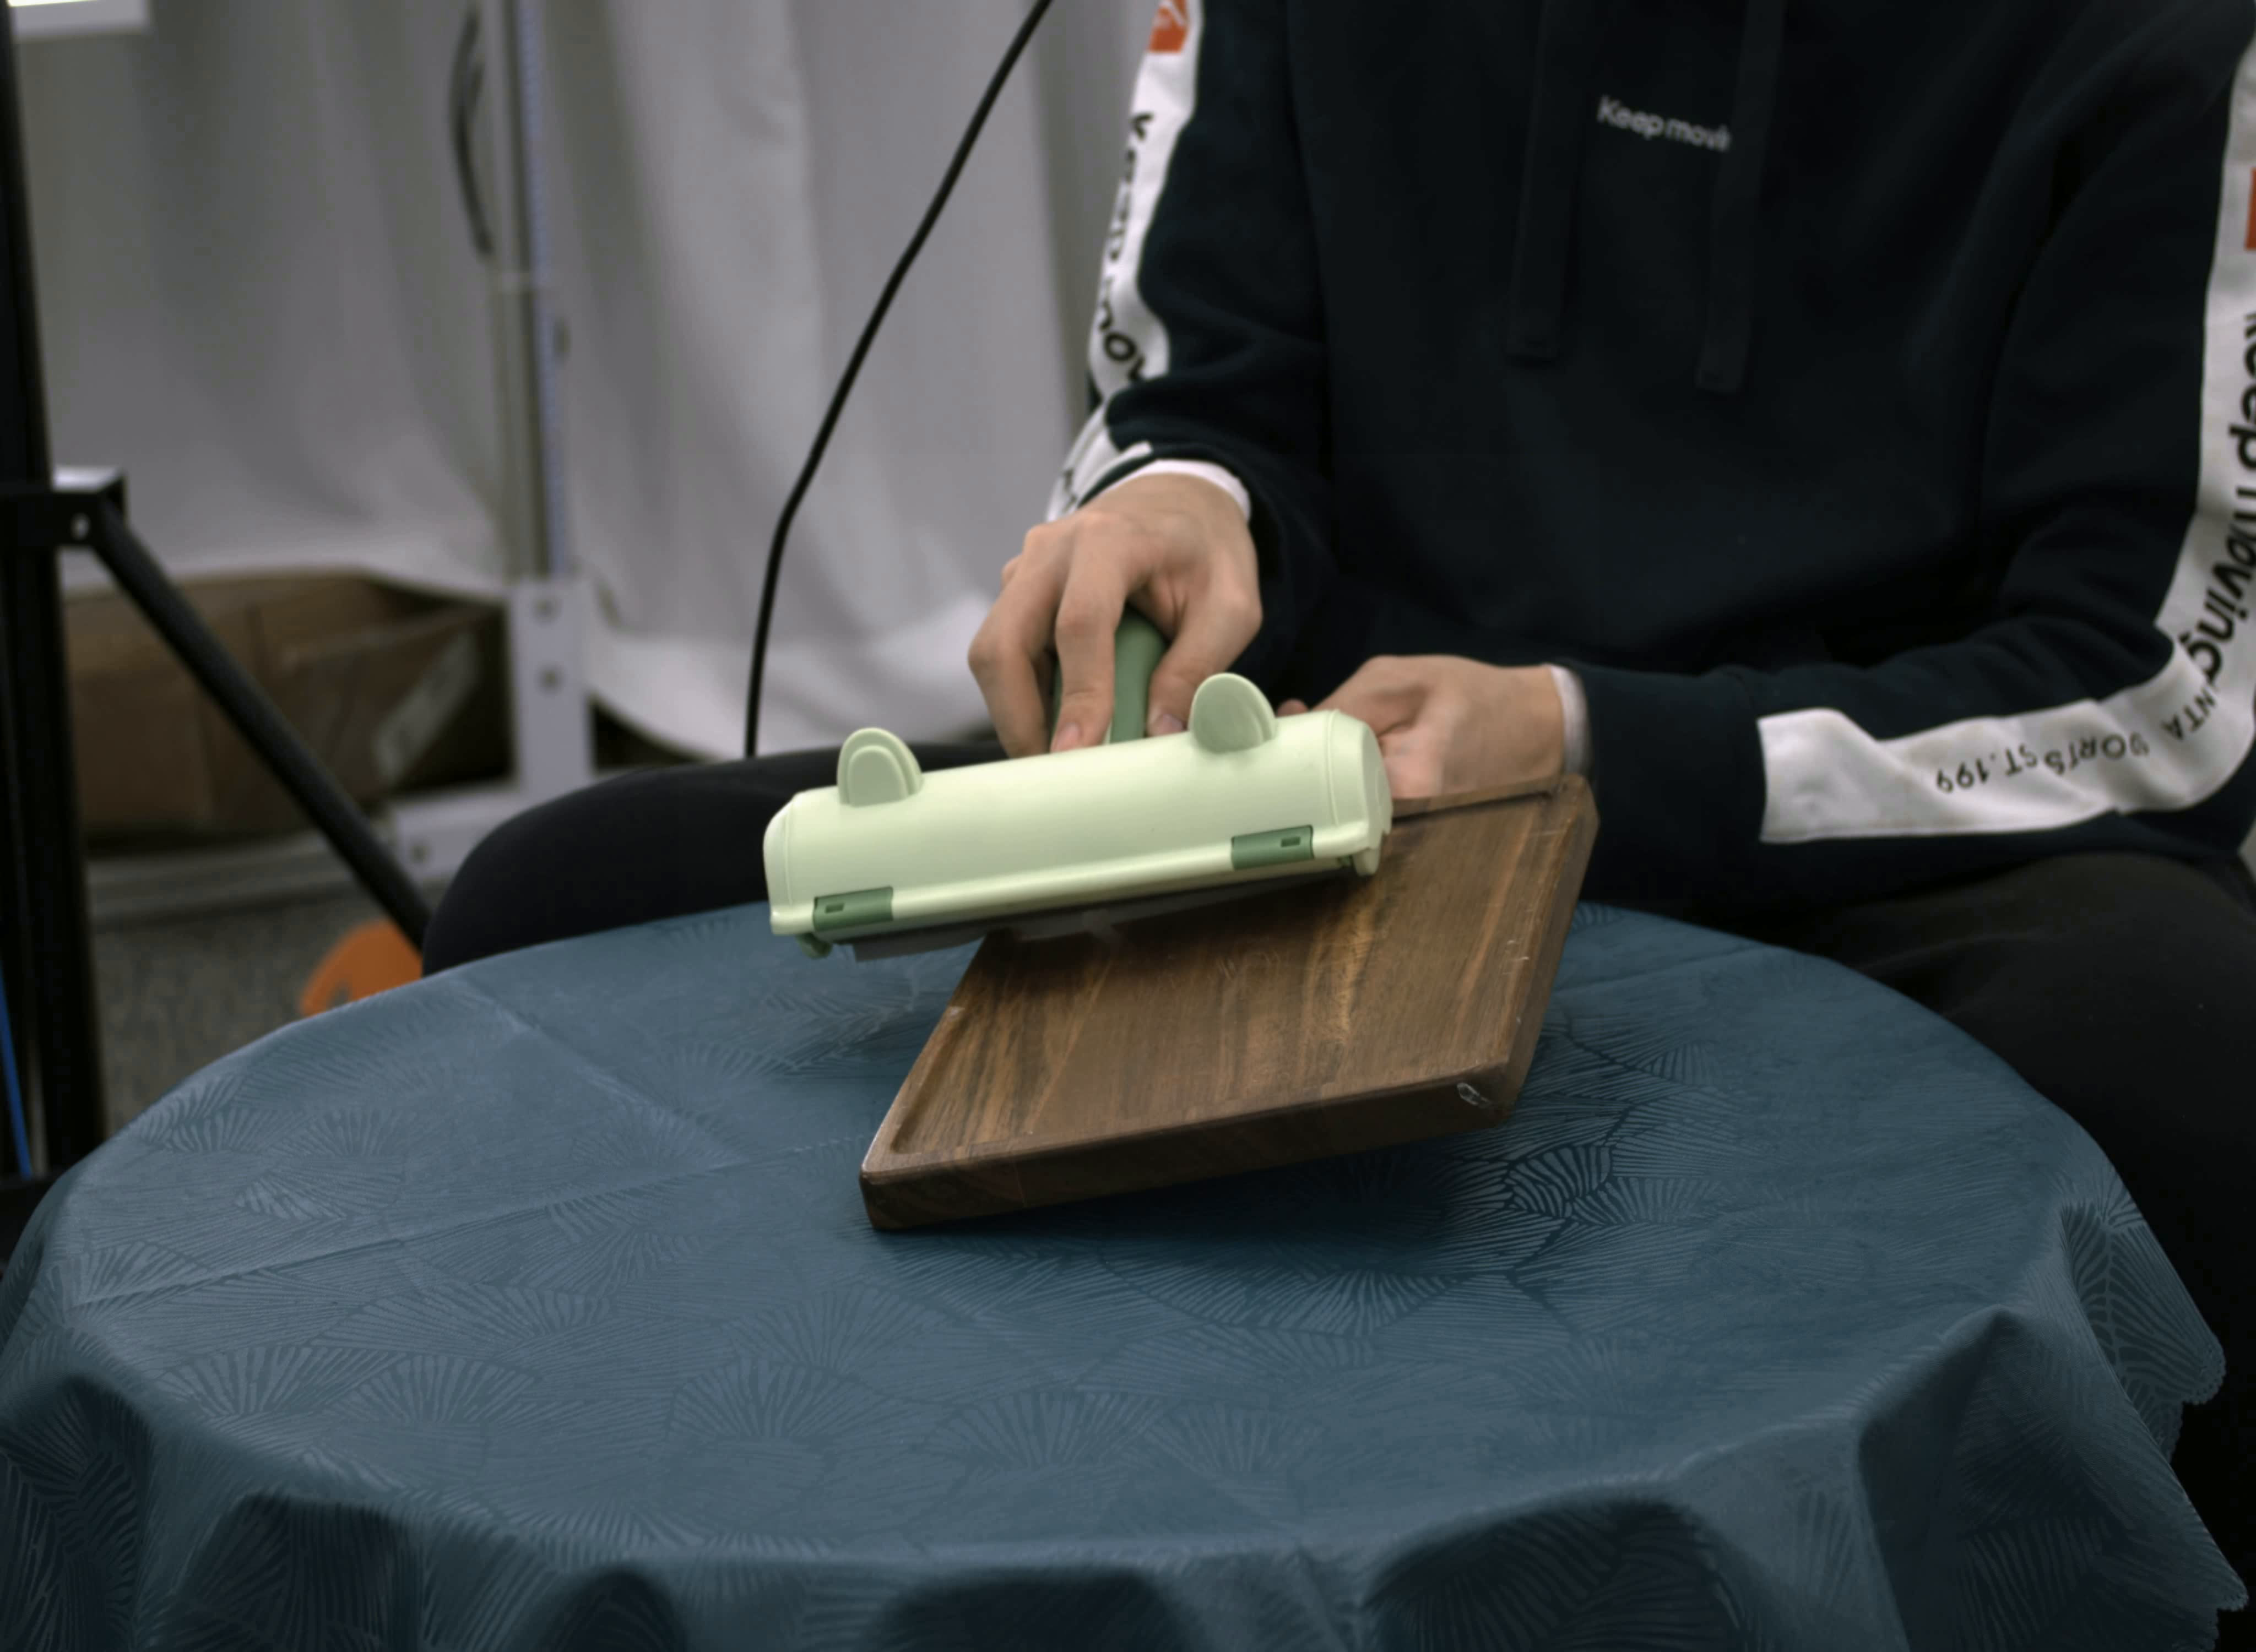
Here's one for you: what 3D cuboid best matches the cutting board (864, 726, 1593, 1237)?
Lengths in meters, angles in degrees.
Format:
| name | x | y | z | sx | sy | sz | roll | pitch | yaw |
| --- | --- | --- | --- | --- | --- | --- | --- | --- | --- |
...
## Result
| name | x | y | z | sx | sy | sz | roll | pitch | yaw |
| --- | --- | --- | --- | --- | --- | --- | --- | --- | --- |
| cutting board | 0.044 | 0.034 | 1.663 | 0.202 | 0.023 | 0.351 | -11 | 17 | 15 |

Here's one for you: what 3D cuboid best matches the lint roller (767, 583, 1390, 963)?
| name | x | y | z | sx | sy | sz | roll | pitch | yaw |
| --- | --- | --- | --- | --- | --- | --- | --- | --- | --- |
| lint roller | -0.014 | -0.039 | 1.725 | 0.200 | 0.081 | 0.184 | -9 | 41 | 14 |
